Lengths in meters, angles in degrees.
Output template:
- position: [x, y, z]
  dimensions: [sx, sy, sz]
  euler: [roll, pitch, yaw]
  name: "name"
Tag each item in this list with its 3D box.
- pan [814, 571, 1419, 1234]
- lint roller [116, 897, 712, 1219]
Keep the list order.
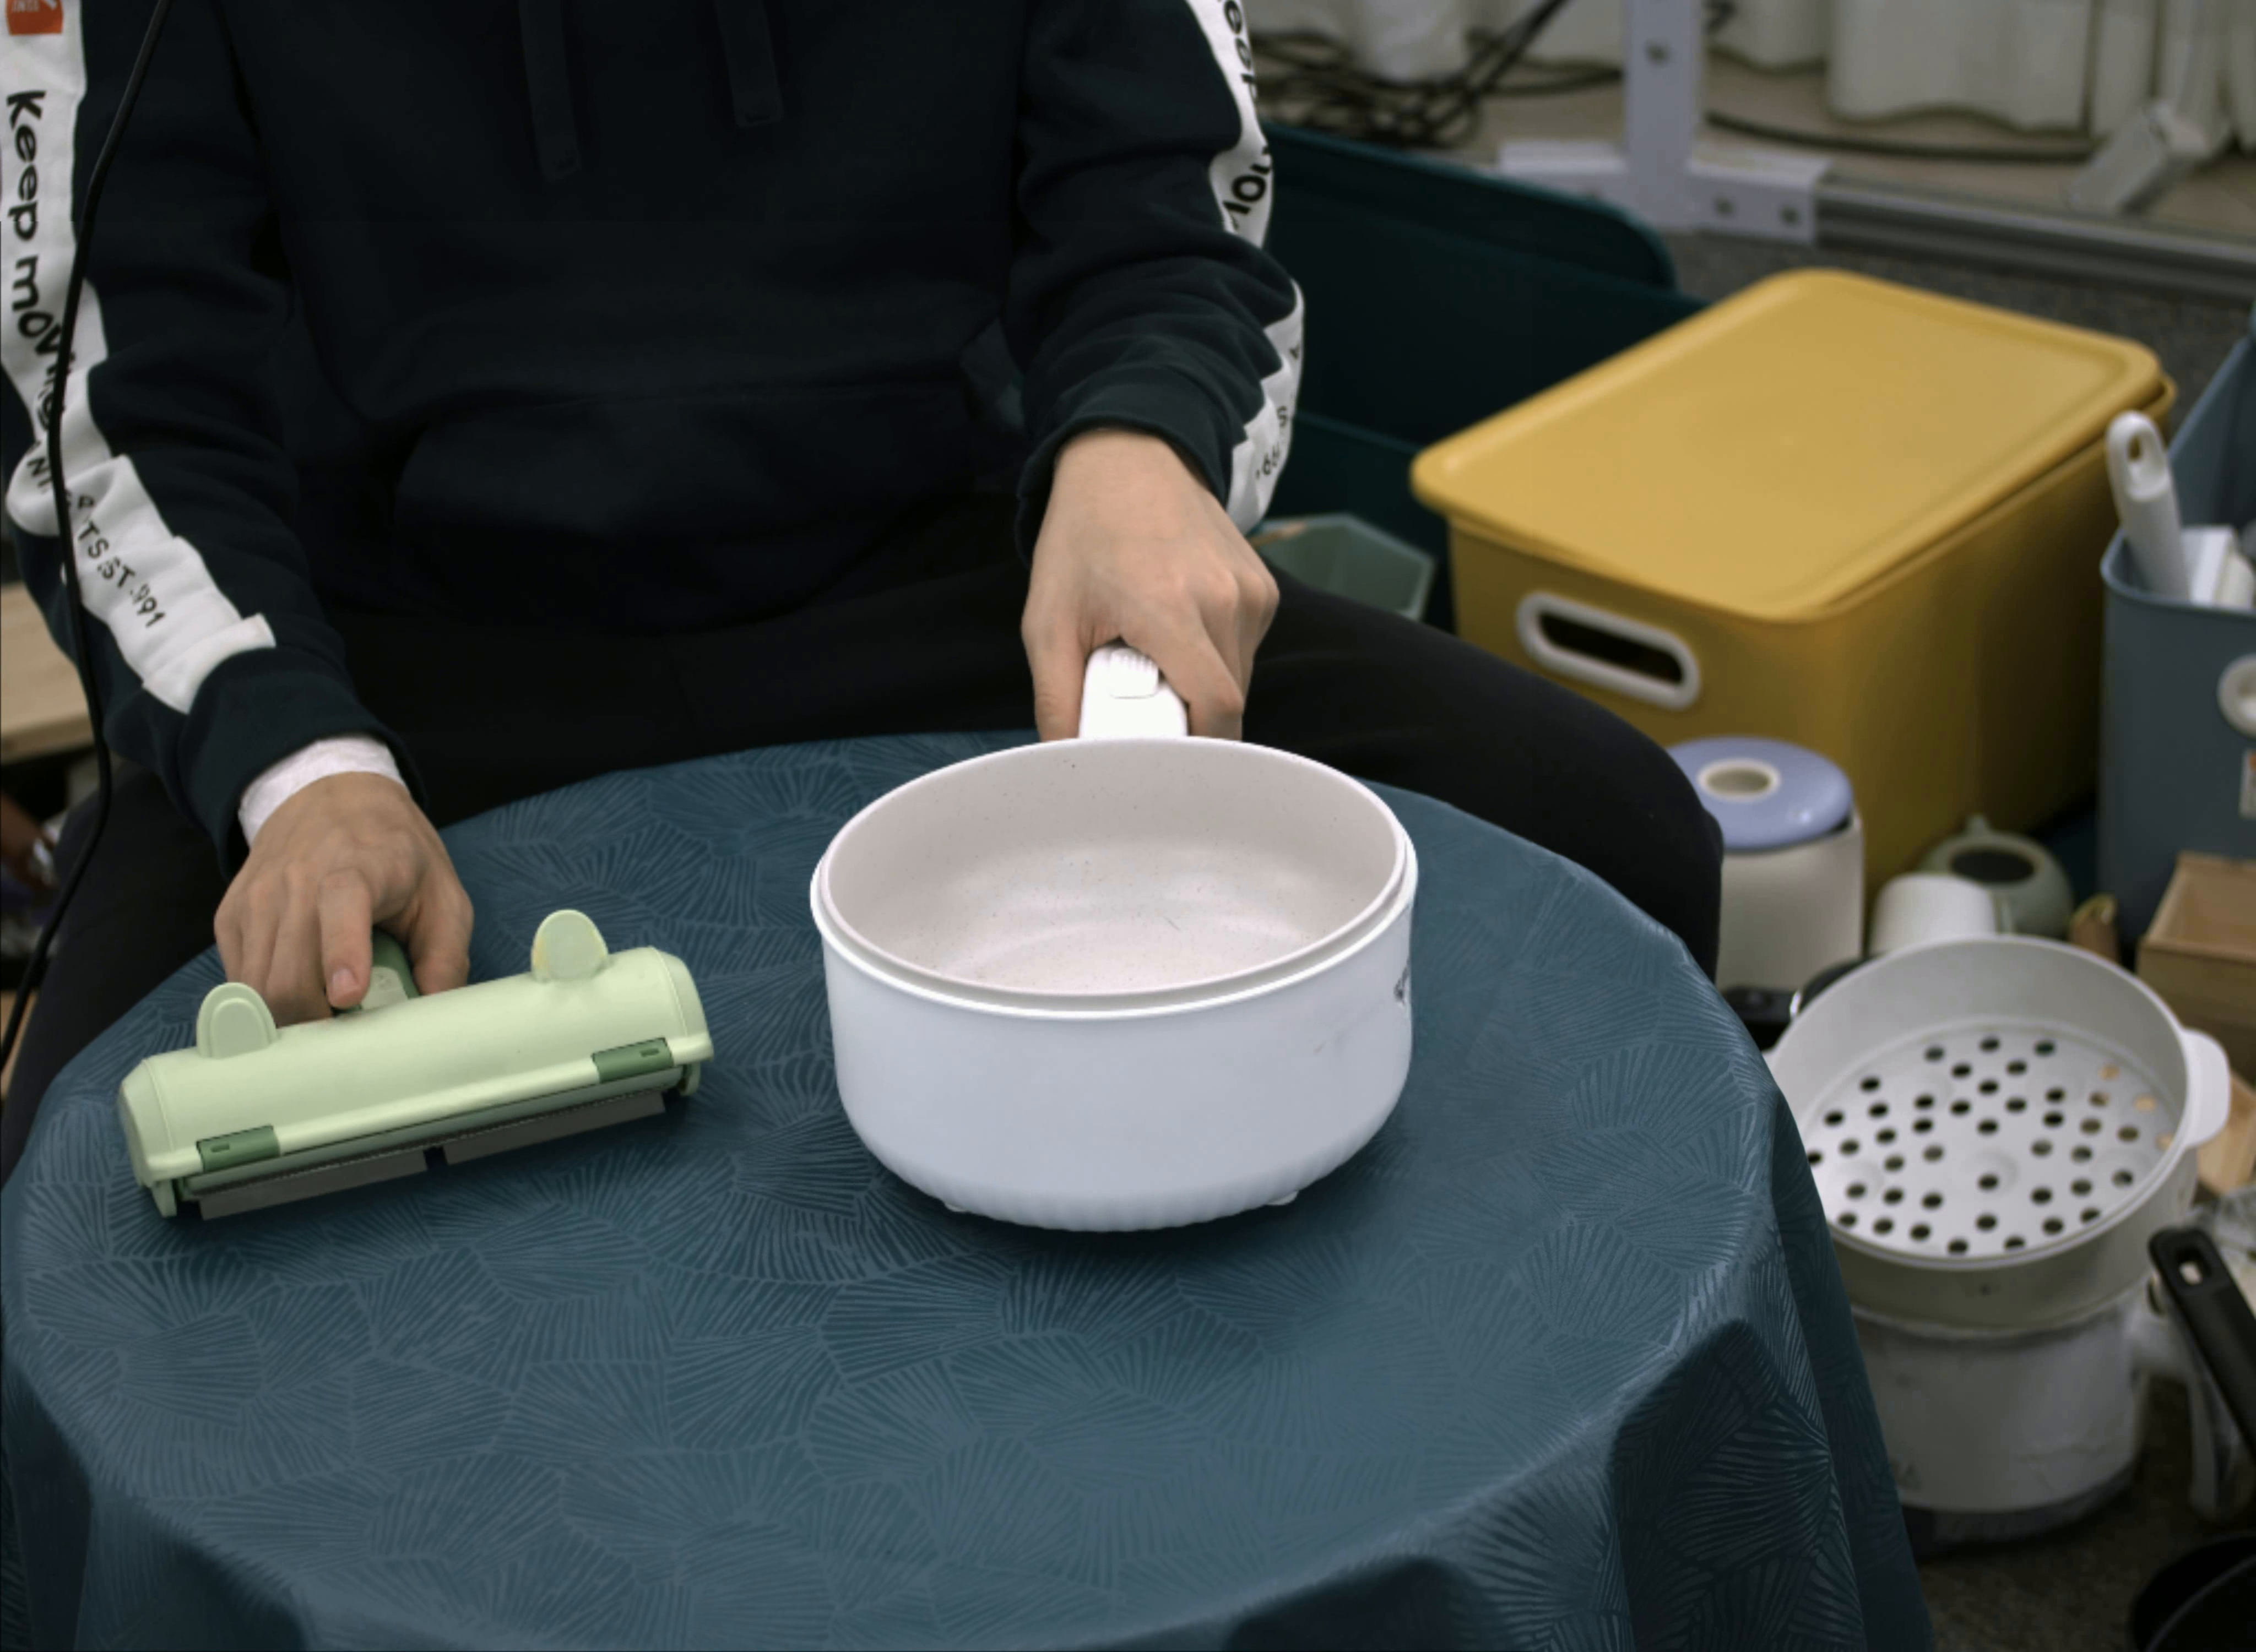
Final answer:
- position: [0.003, 0.023, 1.945]
  dimensions: [0.200, 0.101, 0.360]
  euler: [-1, 25, 4]
  name: "pan"
- position: [-0.259, 0.053, 1.936]
  dimensions: [0.199, 0.081, 0.185]
  euler: [-12, 34, -17]
  name: "lint roller"
